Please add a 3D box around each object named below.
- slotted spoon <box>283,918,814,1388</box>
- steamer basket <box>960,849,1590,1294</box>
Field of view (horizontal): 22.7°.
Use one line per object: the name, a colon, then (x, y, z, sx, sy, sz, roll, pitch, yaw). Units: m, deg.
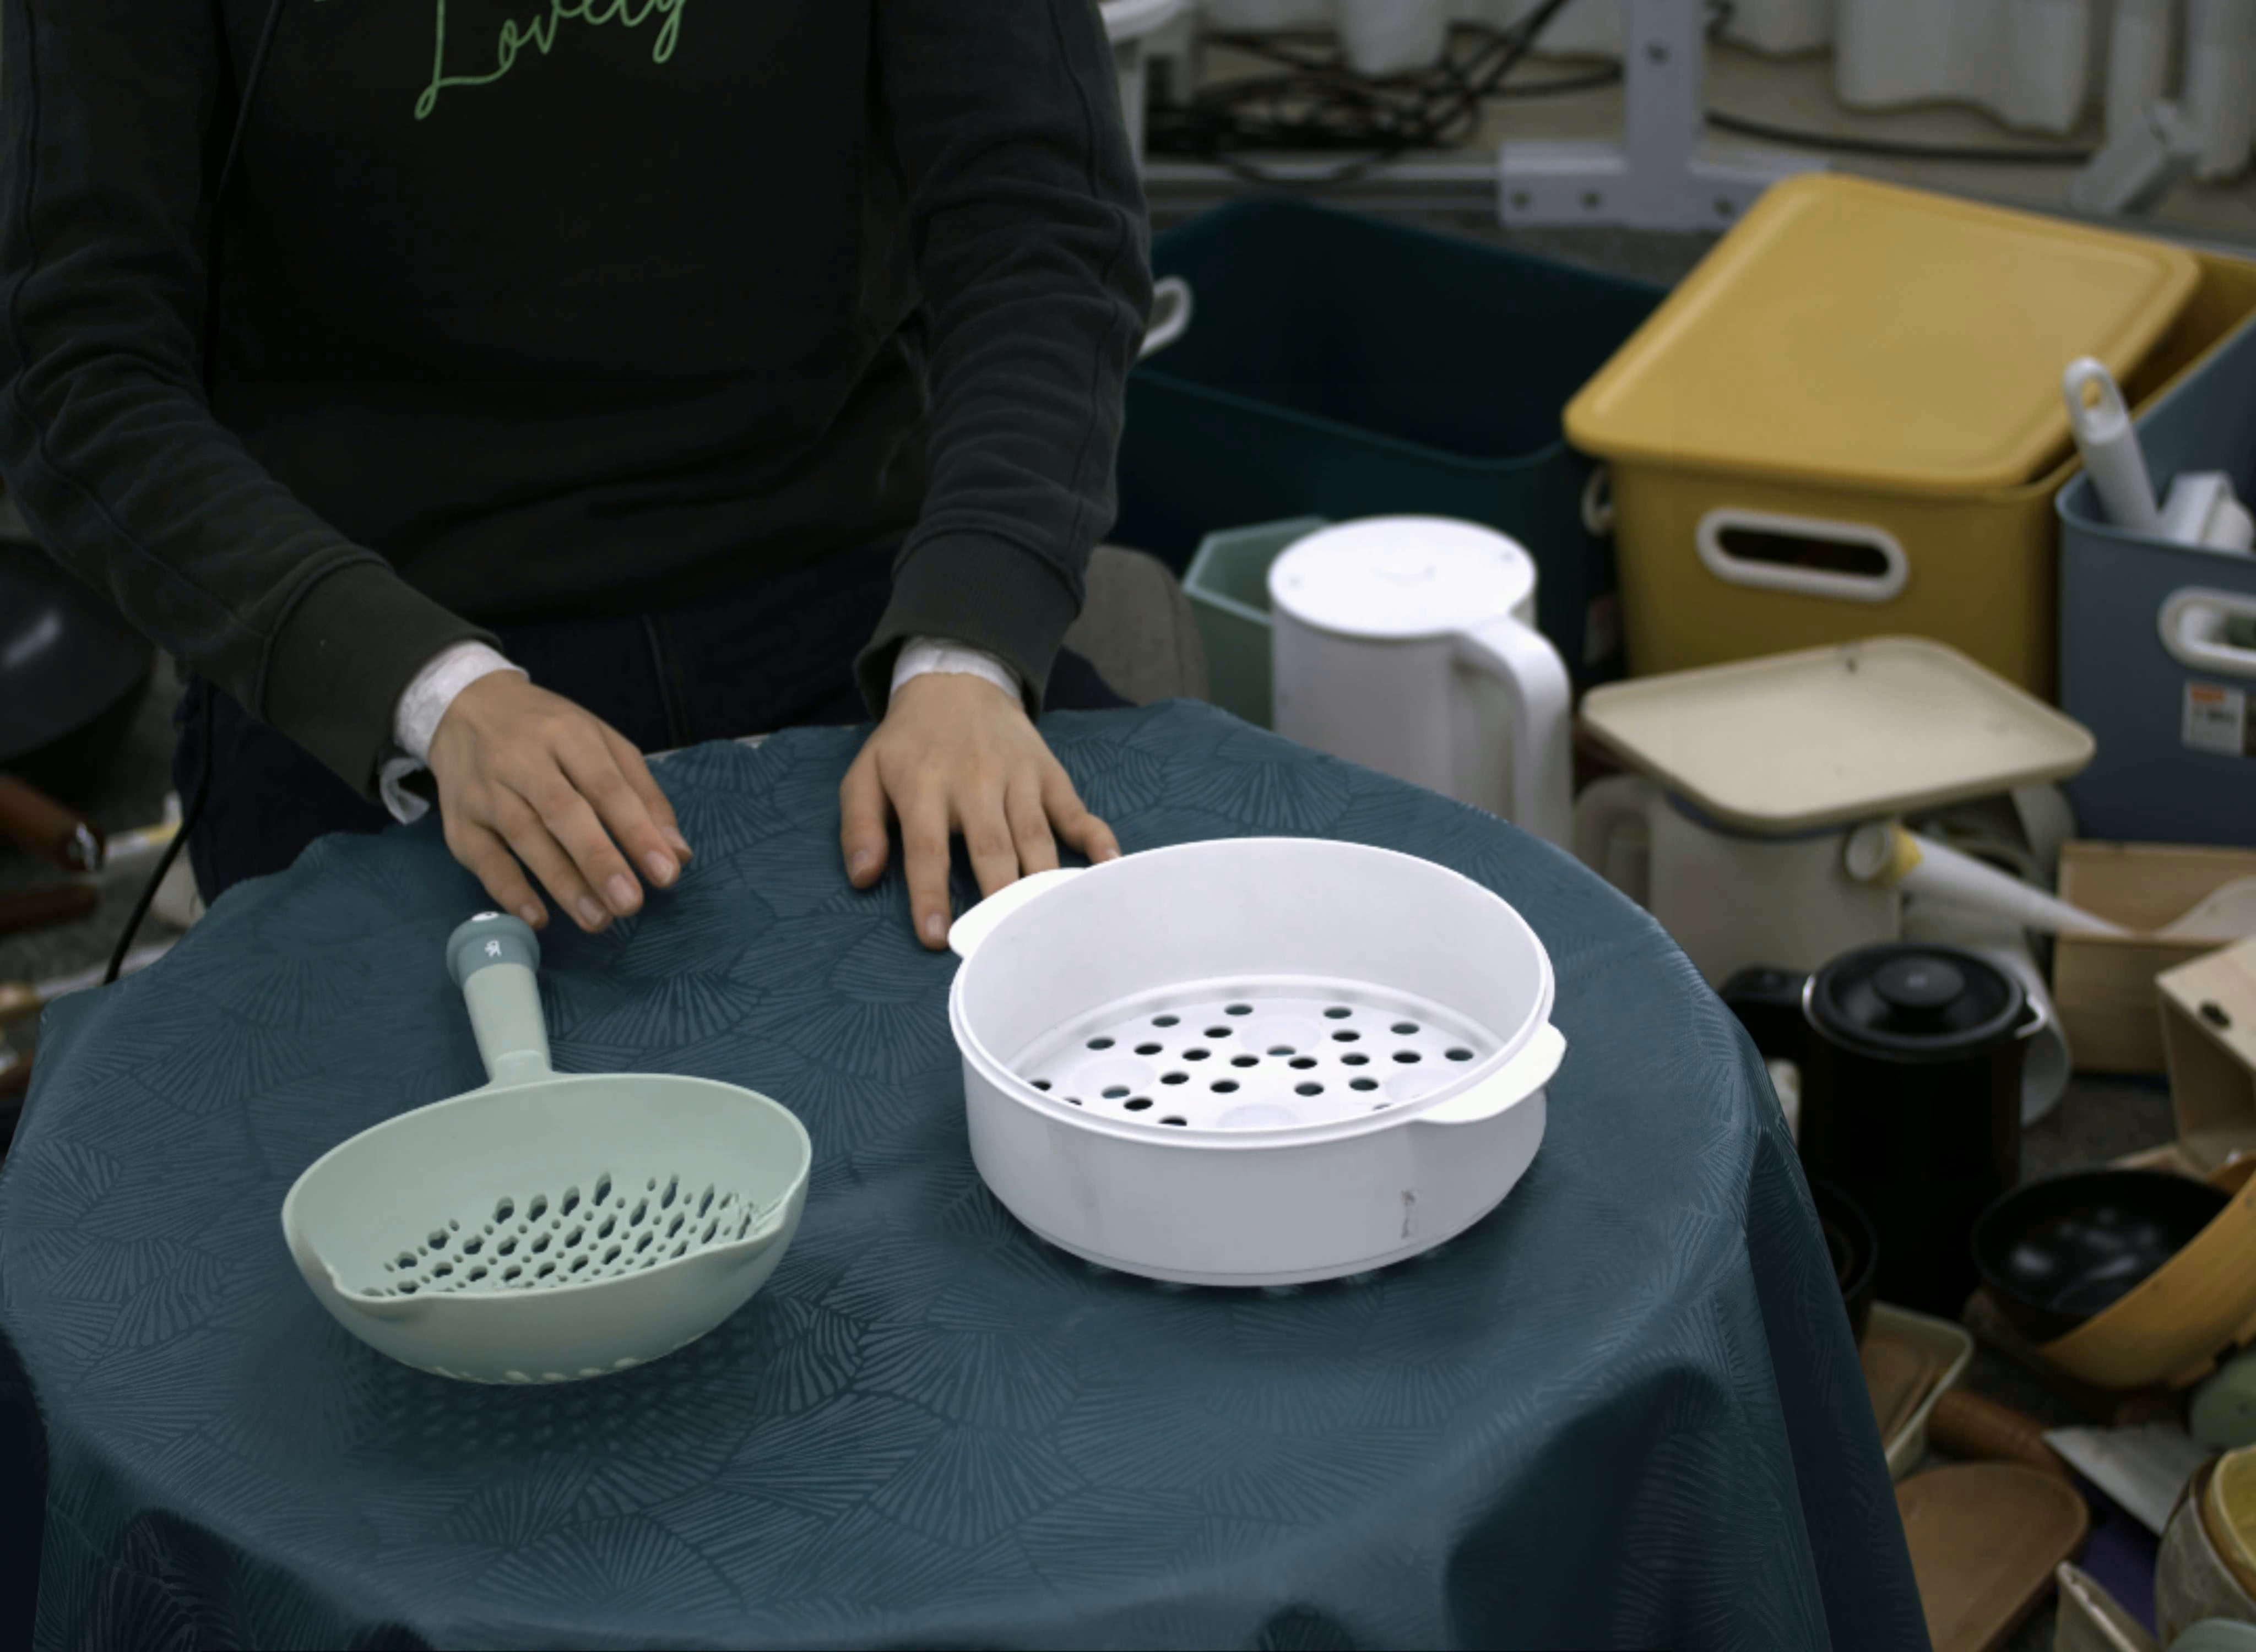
slotted spoon: (-0.199, 0.093, 1.868, 0.169, 0.074, 0.363, -8, 27, -8)
steamer basket: (0.047, 0.081, 1.864, 0.229, 0.068, 0.205, 17, 33, 34)
